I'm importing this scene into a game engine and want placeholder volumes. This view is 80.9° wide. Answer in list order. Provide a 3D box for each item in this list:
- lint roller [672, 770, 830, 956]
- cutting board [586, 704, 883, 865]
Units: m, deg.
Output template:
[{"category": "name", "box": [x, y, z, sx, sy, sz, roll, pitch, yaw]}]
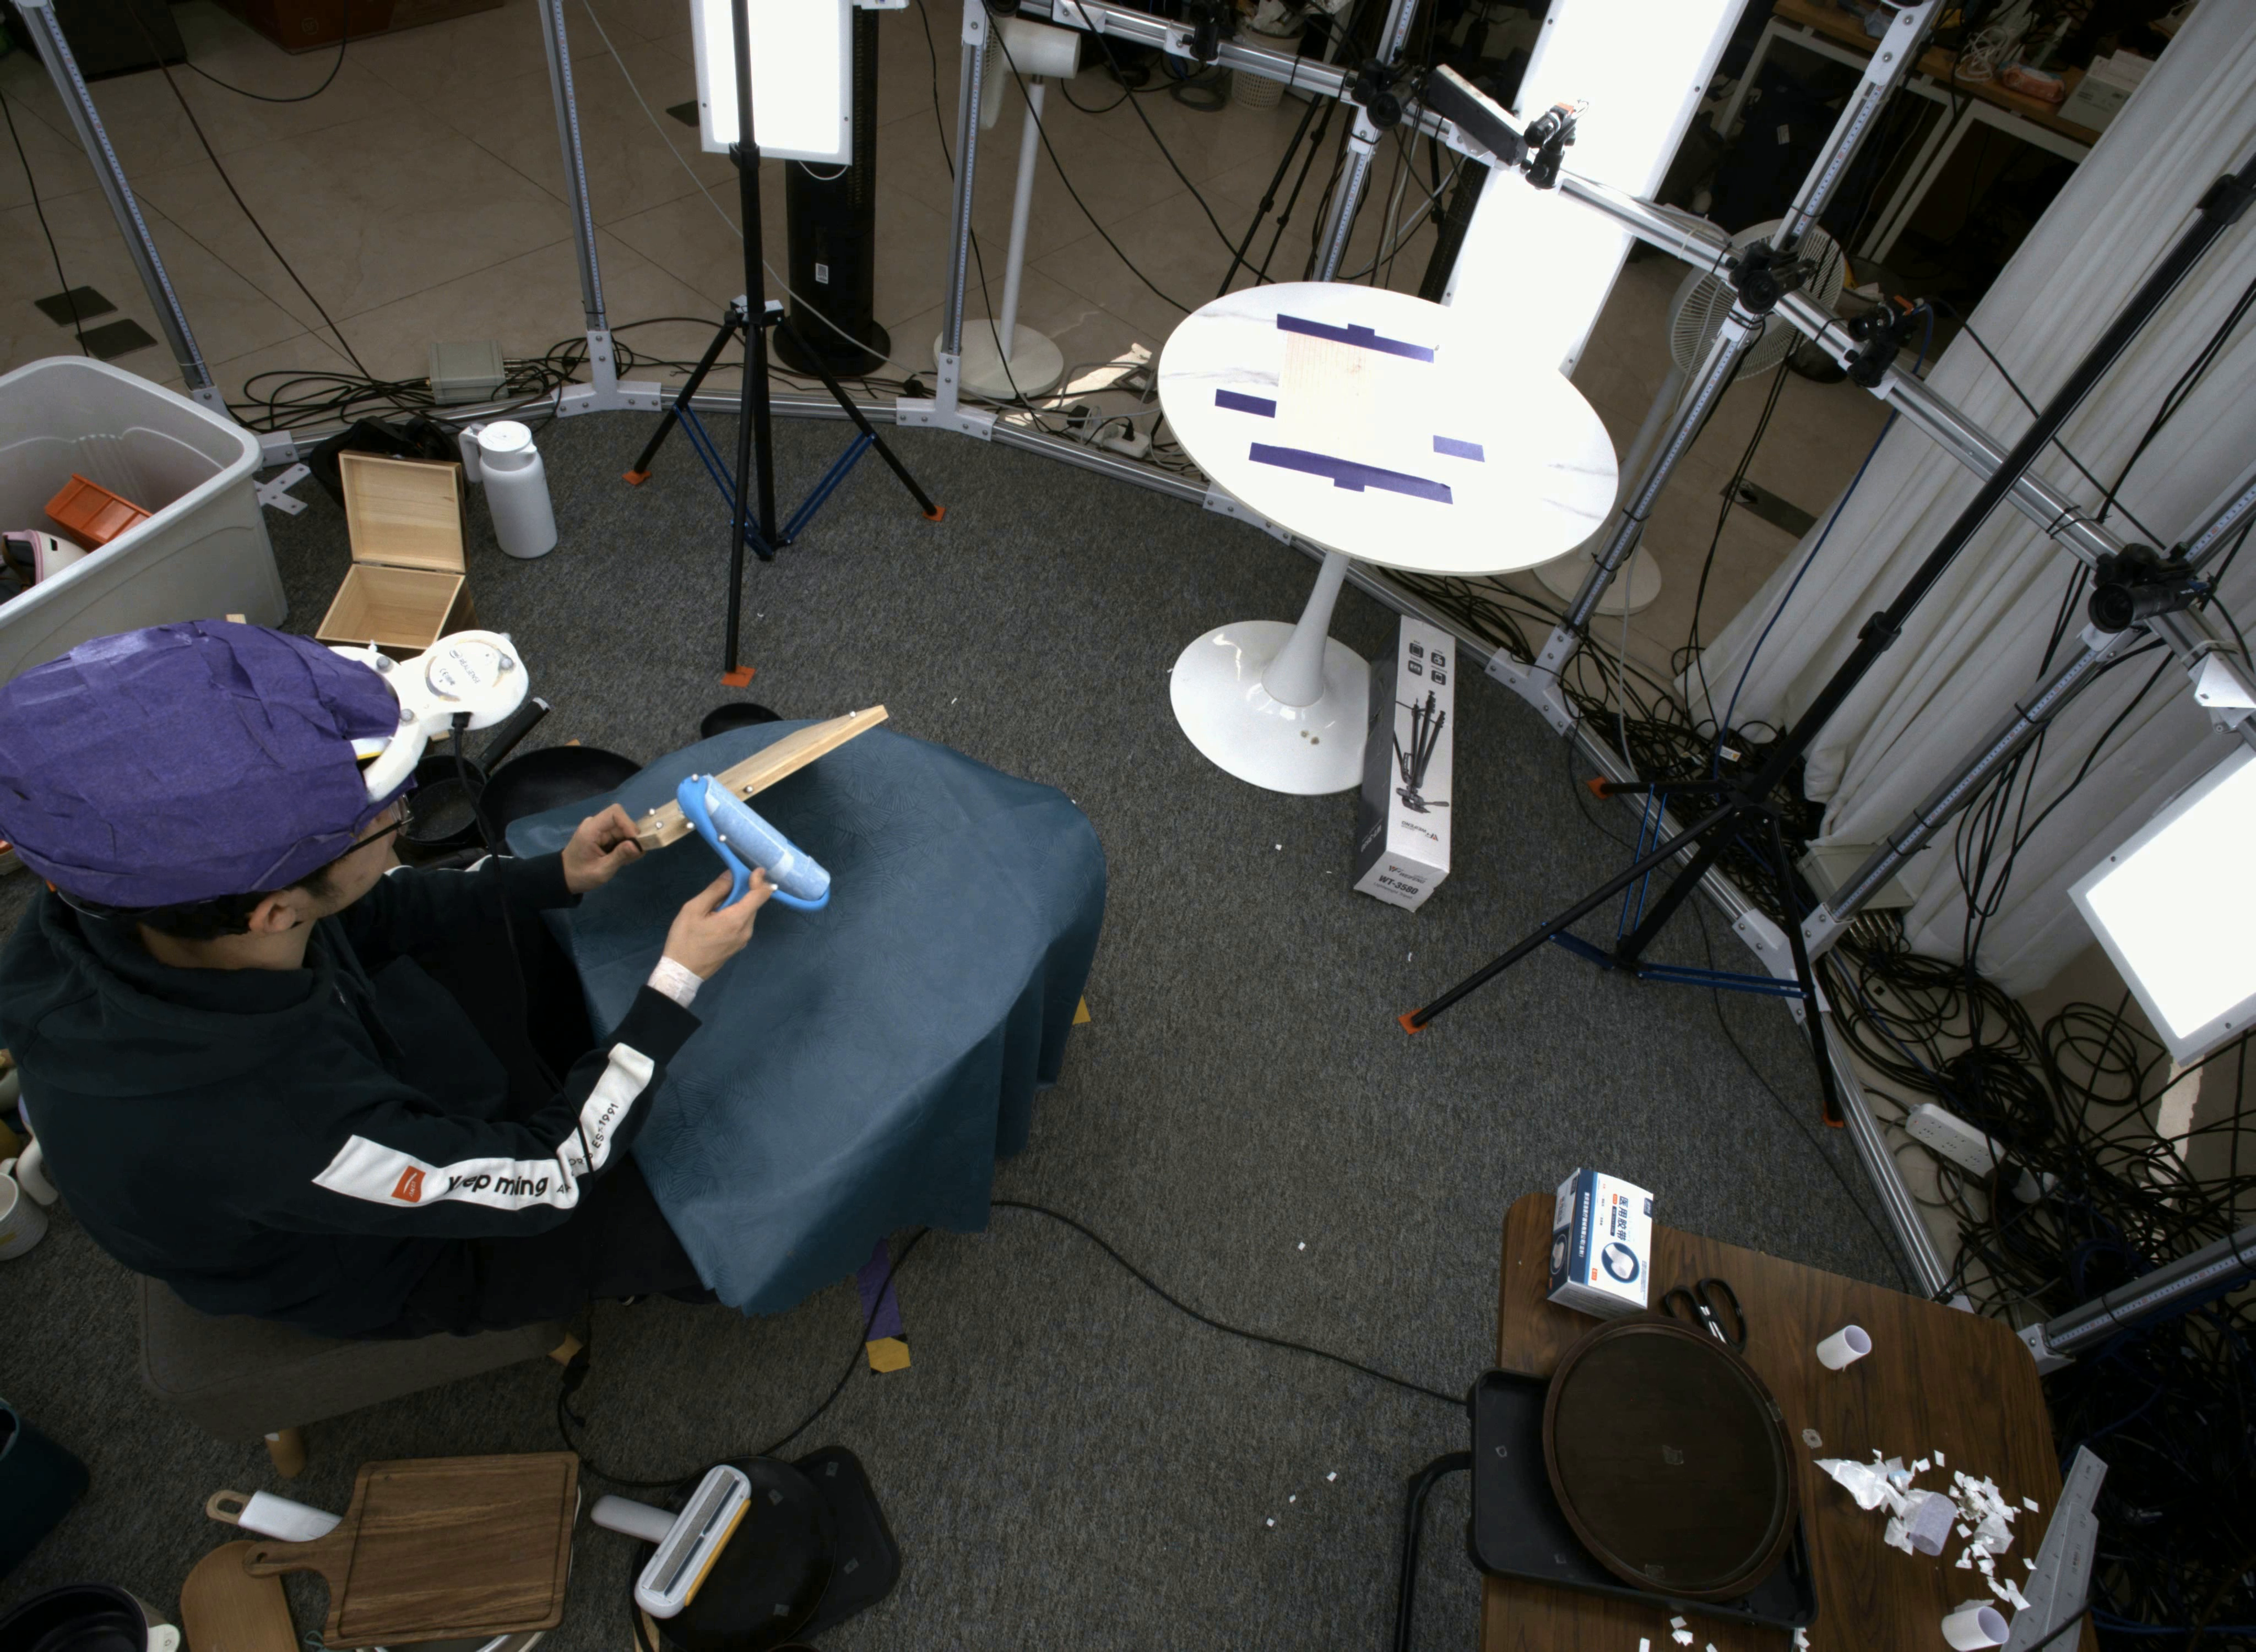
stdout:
[{"category": "lint roller", "box": [-0.445, 0.064, 1.458, 0.066, 0.237, 0.179, -4, 55, 38]}, {"category": "cutting board", "box": [-0.493, -0.054, 1.615, 0.349, 0.244, 0.024, -37, 108, -38]}]
